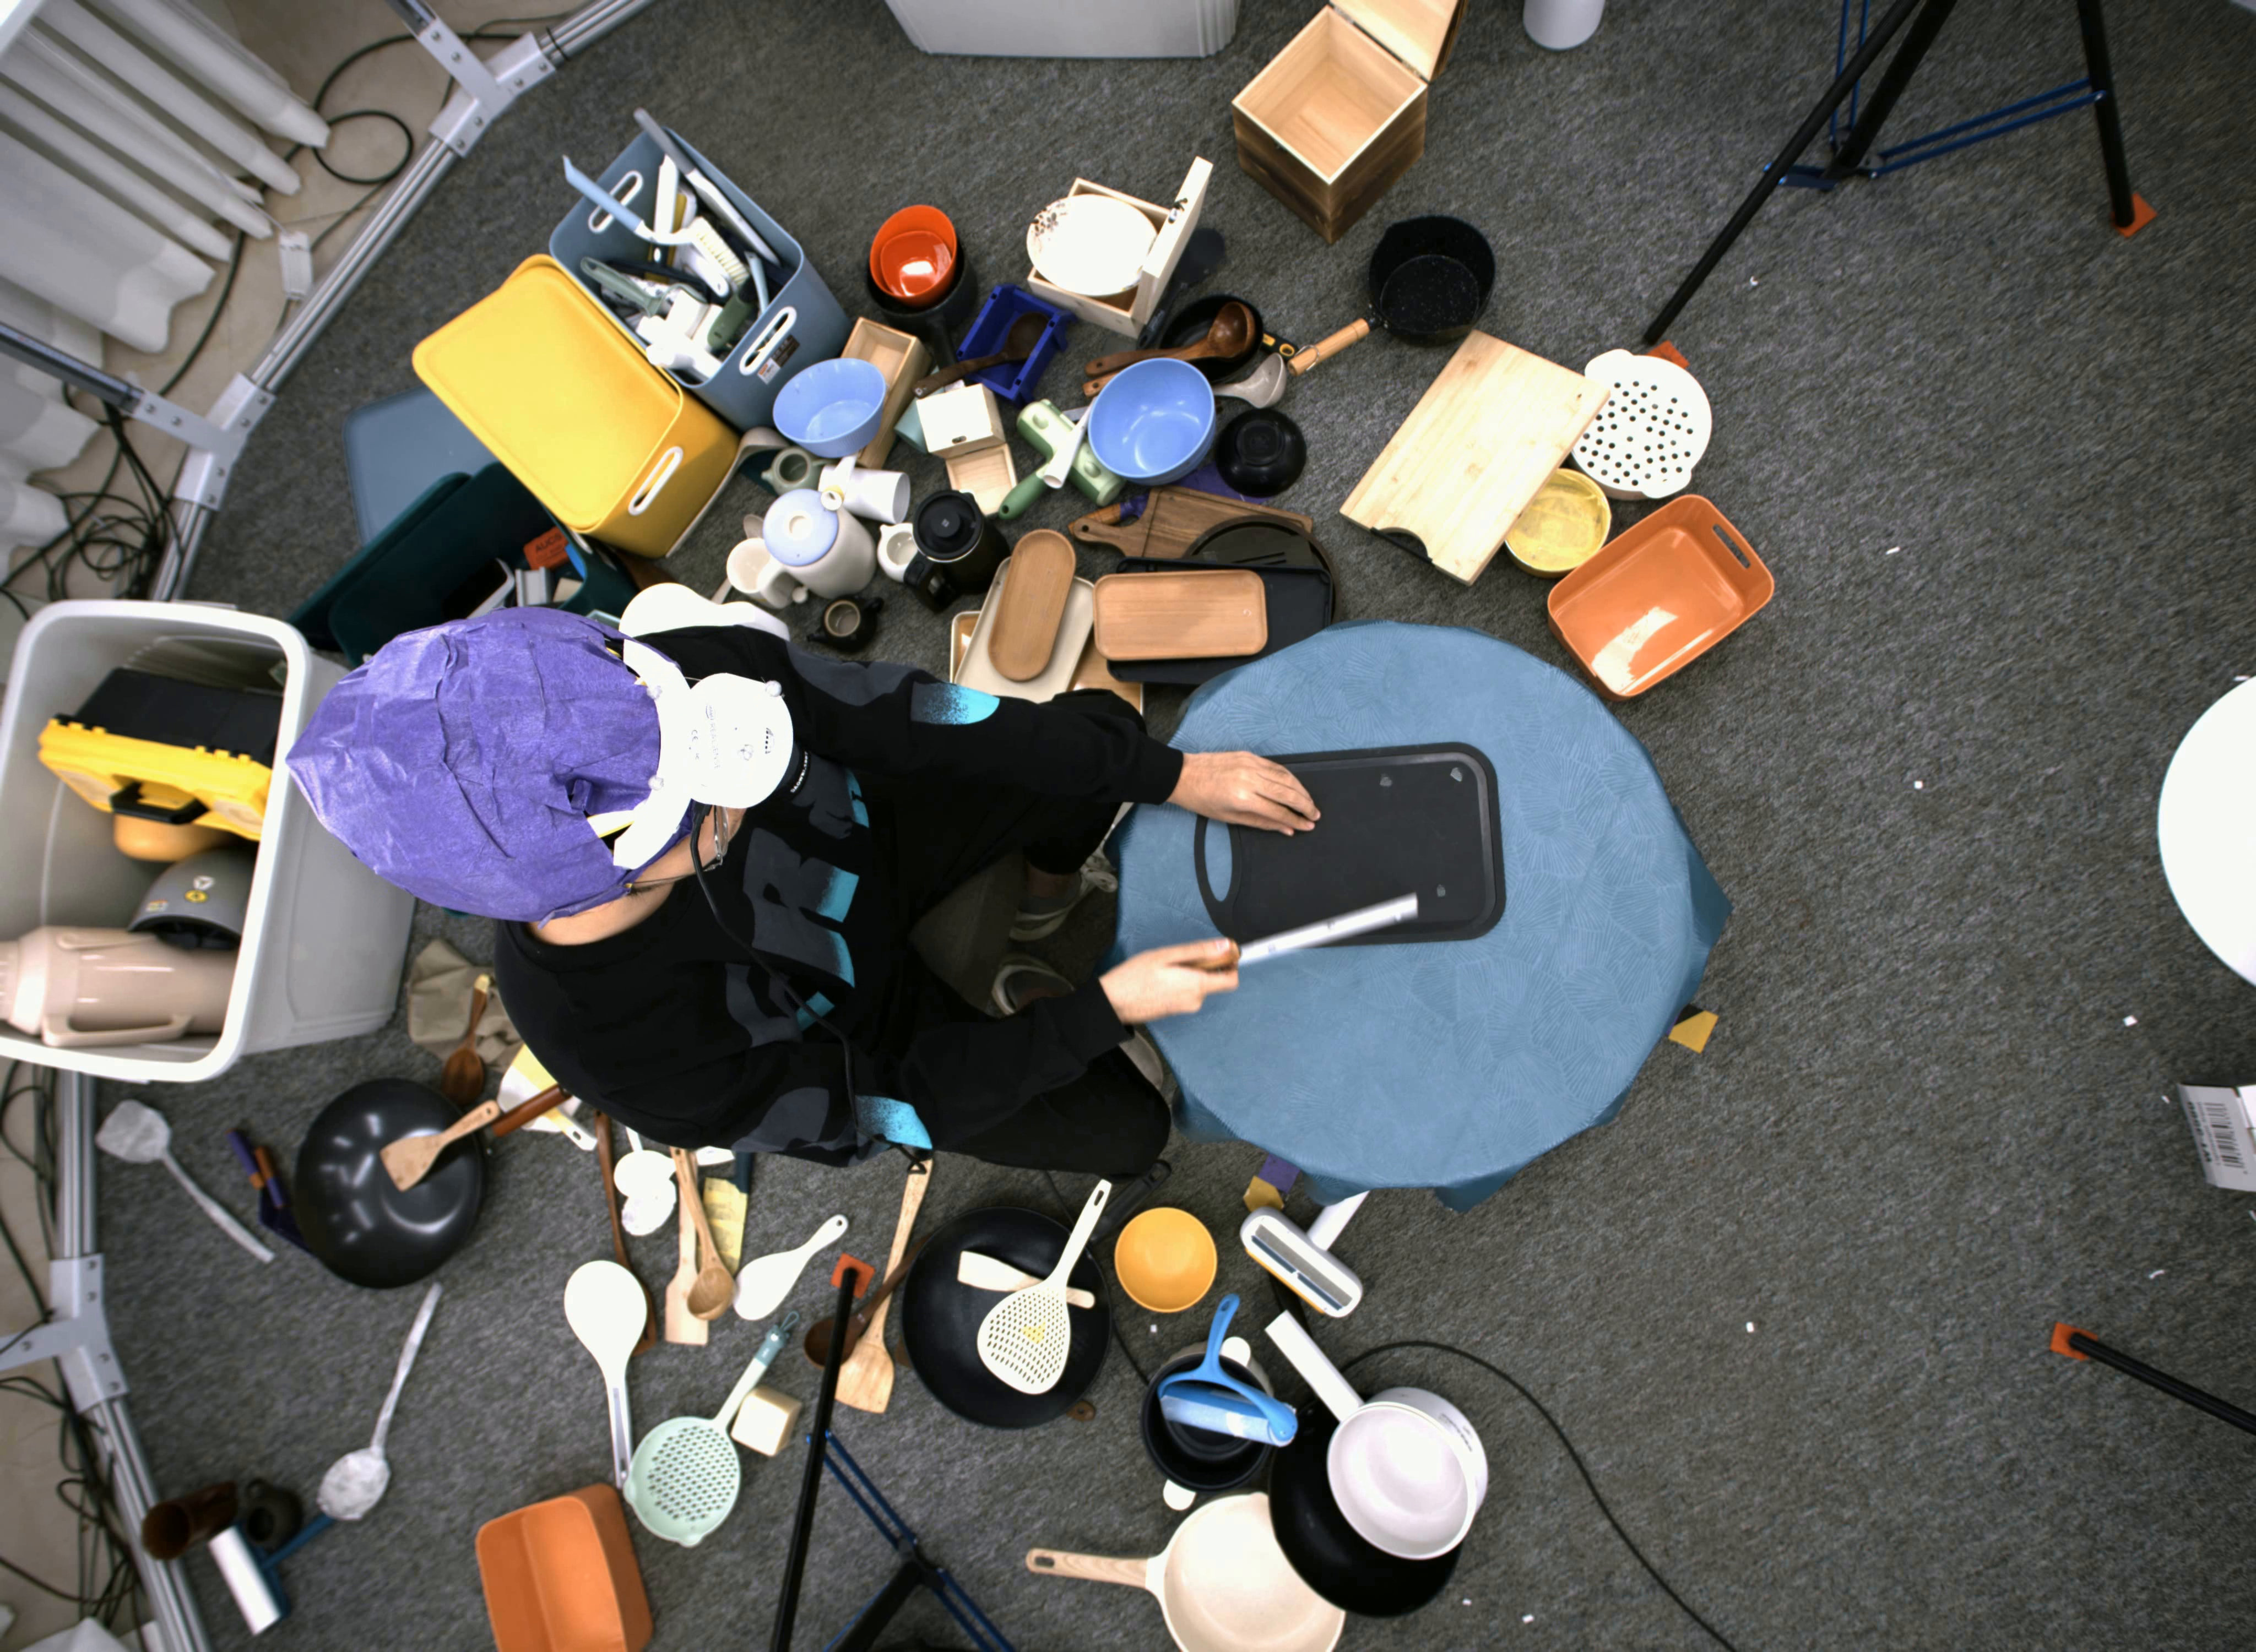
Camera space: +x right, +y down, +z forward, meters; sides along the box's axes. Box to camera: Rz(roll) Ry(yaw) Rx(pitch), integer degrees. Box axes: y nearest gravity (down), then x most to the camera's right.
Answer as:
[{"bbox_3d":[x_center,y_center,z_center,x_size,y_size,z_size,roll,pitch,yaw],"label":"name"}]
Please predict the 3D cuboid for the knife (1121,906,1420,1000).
[{"bbox_3d":[0.146,0.130,1.401,0.307,0.094,0.020,-16,71,9],"label":"knife"}]

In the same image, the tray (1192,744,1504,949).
[{"bbox_3d":[0.230,0.022,1.466,0.327,0.010,0.210,-3,86,10],"label":"tray"}]
